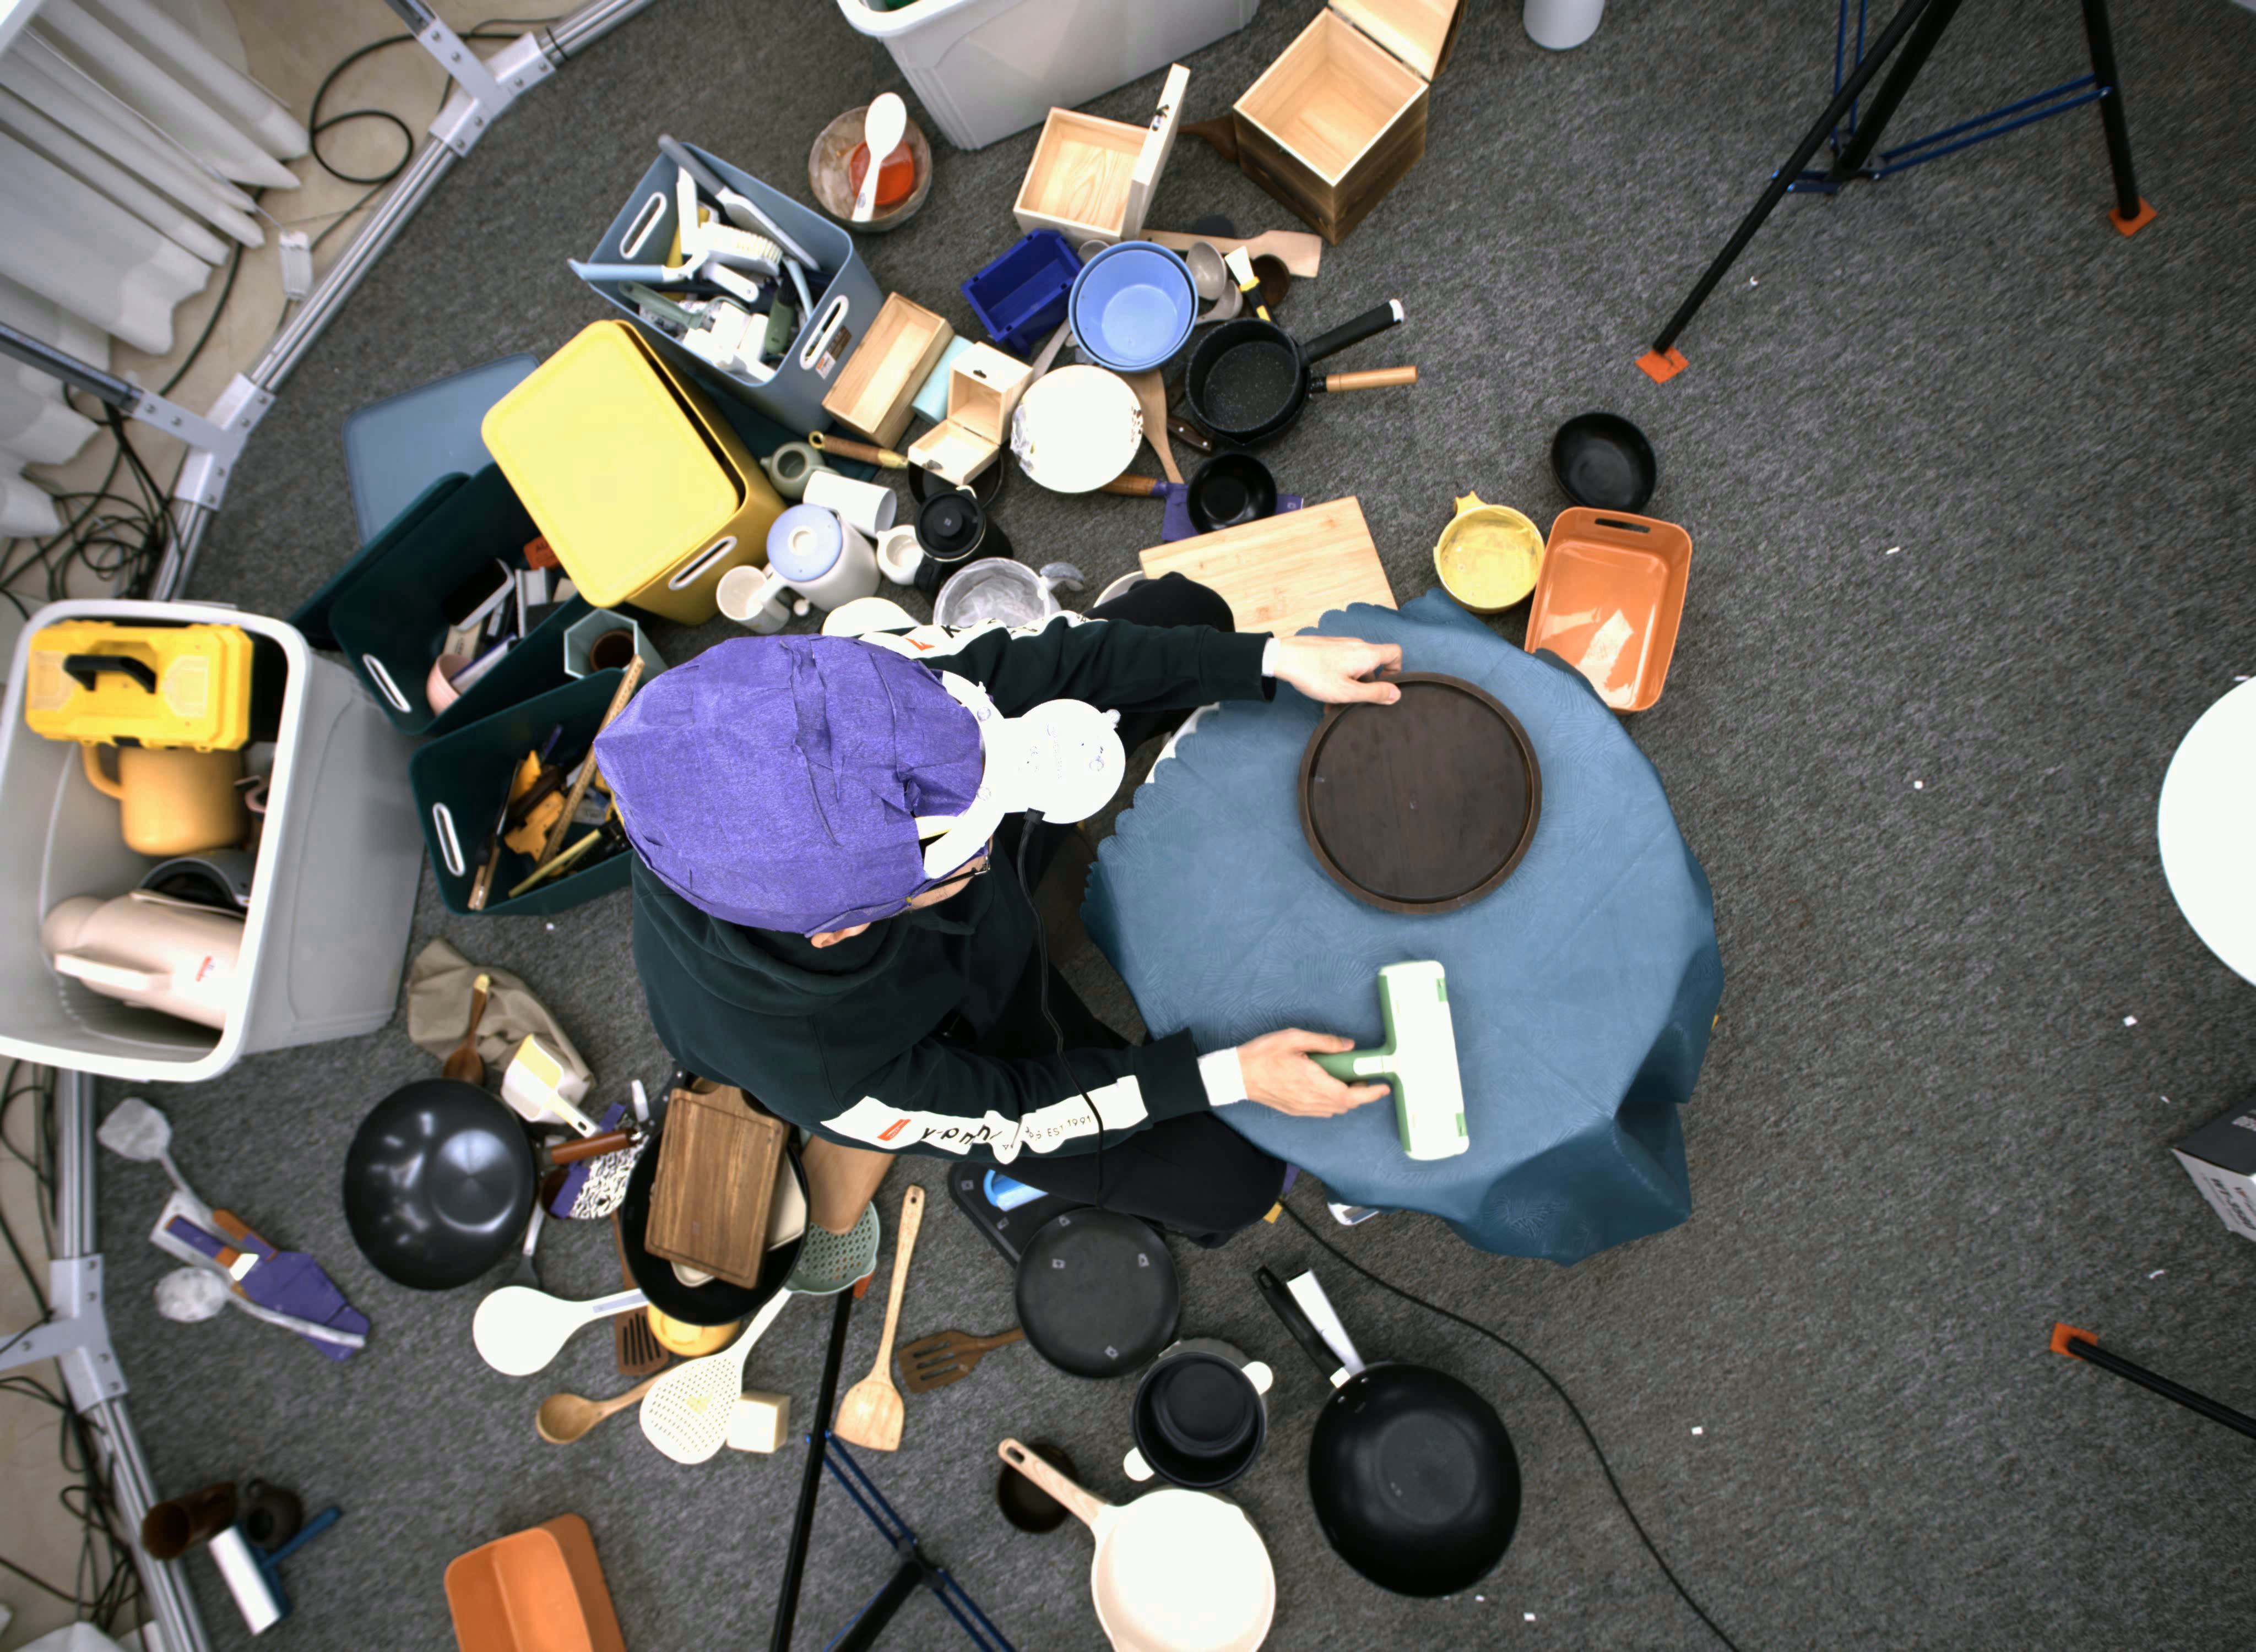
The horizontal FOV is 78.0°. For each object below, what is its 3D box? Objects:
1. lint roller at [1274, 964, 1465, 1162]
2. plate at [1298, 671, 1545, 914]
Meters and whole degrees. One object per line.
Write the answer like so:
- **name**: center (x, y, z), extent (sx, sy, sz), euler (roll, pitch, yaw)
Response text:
- **lint roller**: center (0.240, 0.244, 1.401), extent (0.184, 0.082, 0.198), euler (-7, 89, 6)
- **plate**: center (0.303, -0.036, 1.429), extent (0.255, 0.029, 0.255), euler (0, 95, 7)
